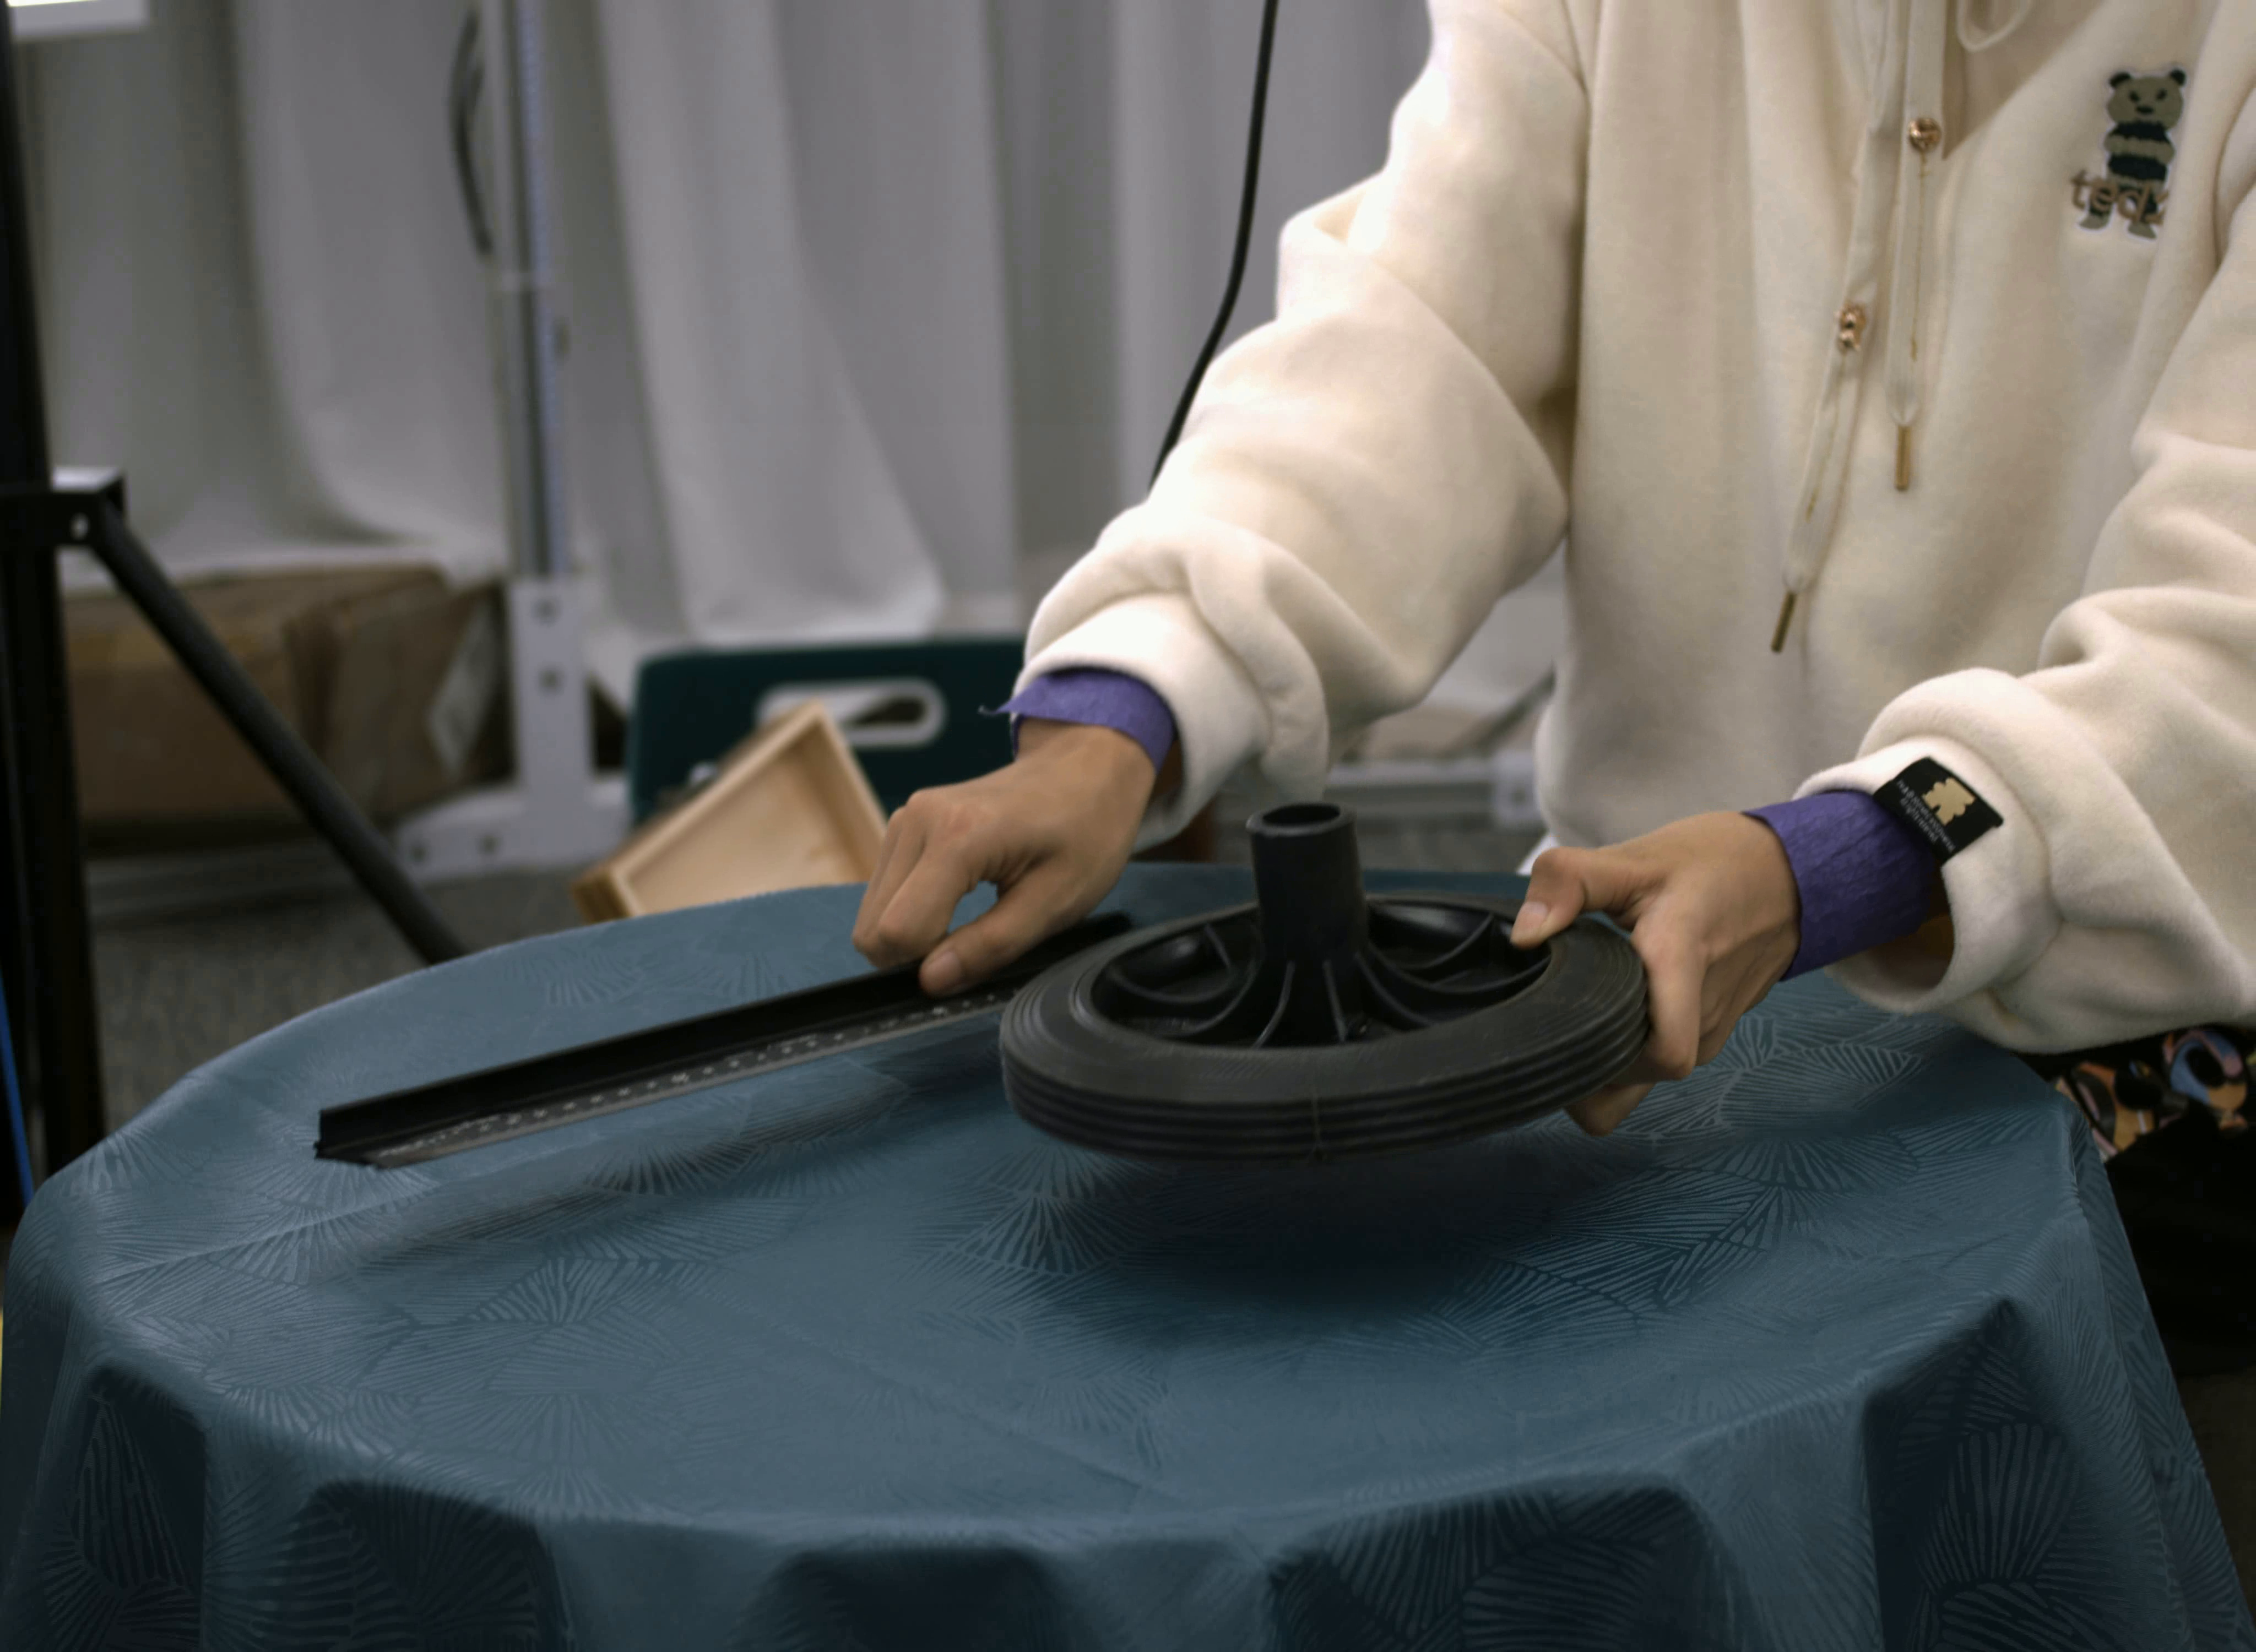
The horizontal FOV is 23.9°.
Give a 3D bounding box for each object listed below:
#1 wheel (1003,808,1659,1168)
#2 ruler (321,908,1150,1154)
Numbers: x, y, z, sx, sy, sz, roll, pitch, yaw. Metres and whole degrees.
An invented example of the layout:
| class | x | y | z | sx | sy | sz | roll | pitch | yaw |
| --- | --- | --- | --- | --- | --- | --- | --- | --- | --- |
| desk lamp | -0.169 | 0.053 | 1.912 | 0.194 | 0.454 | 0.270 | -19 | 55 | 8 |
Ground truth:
| class | x | y | z | sx | sy | sz | roll | pitch | yaw |
| --- | --- | --- | --- | --- | --- | --- | --- | --- | --- |
| wheel | 0.056 | 0.037 | 1.524 | 0.194 | 0.079 | 0.183 | 7 | 21 | 40 |
| ruler | -0.104 | 0.060 | 1.615 | 0.305 | 0.017 | 0.040 | -12 | 14 | -37 |
